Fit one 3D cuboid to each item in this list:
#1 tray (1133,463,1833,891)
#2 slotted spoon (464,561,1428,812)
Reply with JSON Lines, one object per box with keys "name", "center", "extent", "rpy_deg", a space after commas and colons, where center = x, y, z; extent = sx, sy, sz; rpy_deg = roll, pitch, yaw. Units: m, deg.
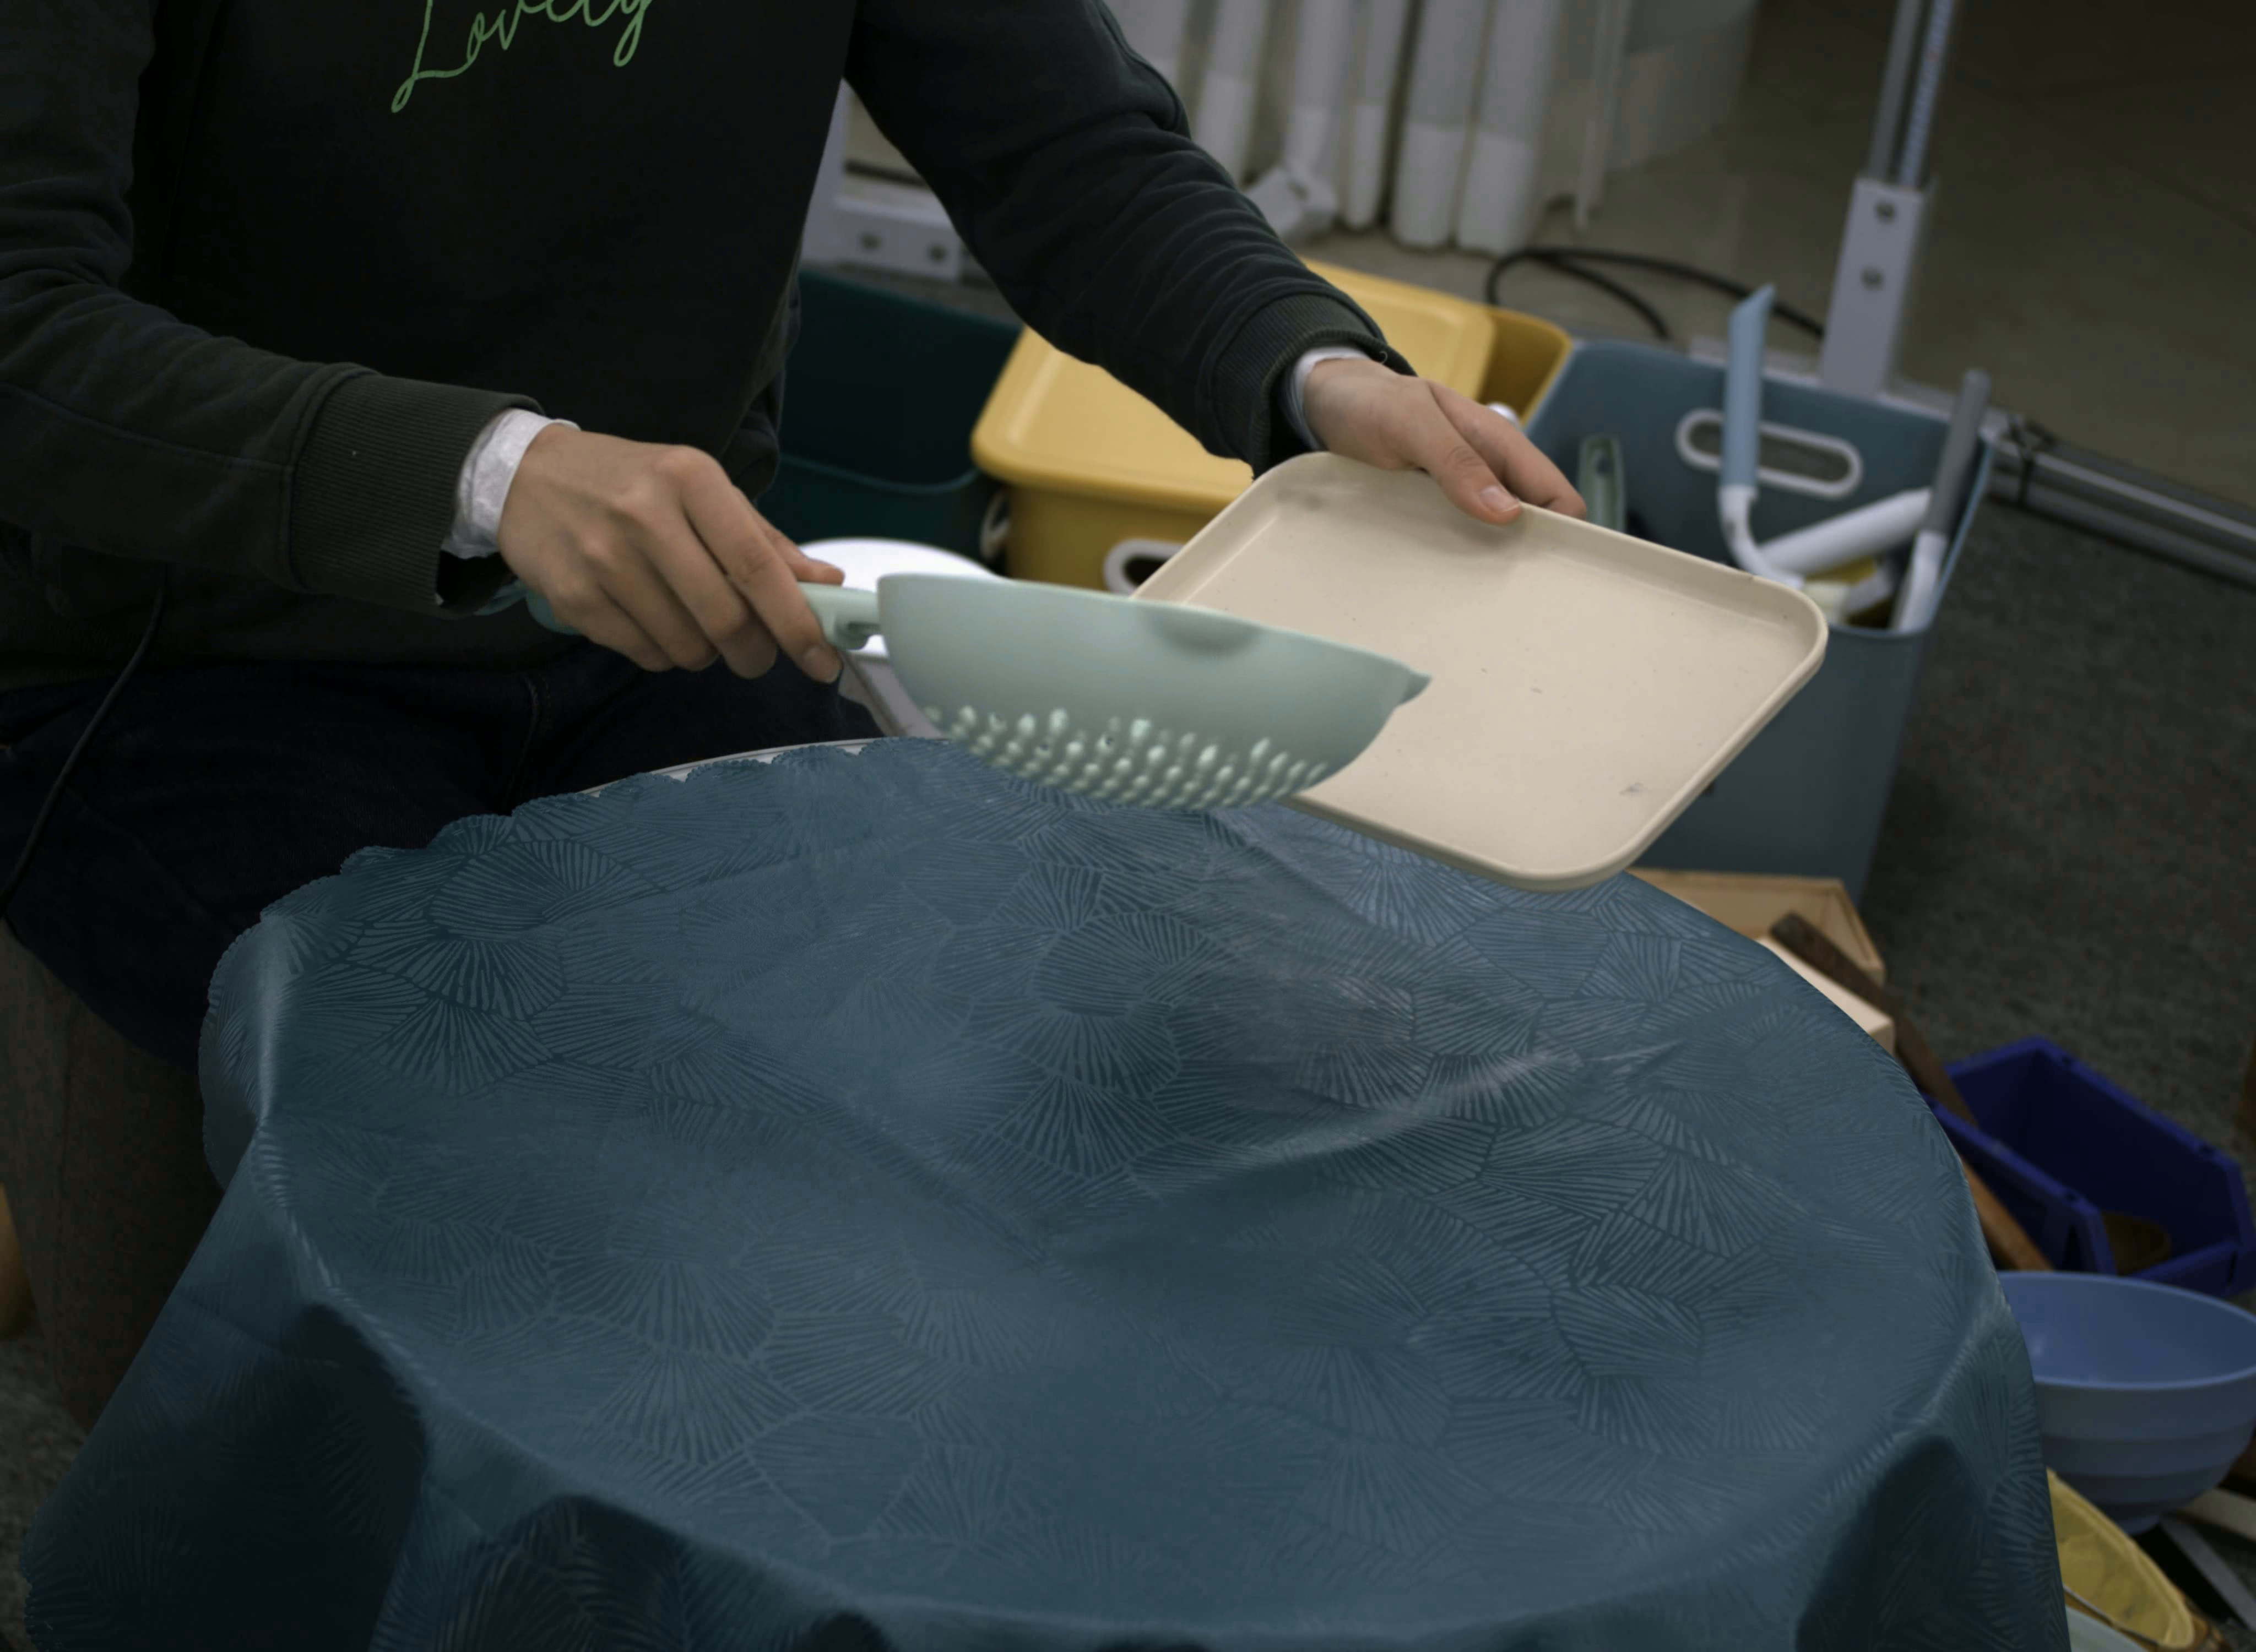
{"name": "tray", "center": [0.109, -0.053, 1.828], "extent": [0.241, 0.017, 0.171], "rpy_deg": [19, 48, 35]}
{"name": "slotted spoon", "center": [-0.077, -0.060, 1.717], "extent": [0.361, 0.075, 0.168], "rpy_deg": [17, 1, 36]}
